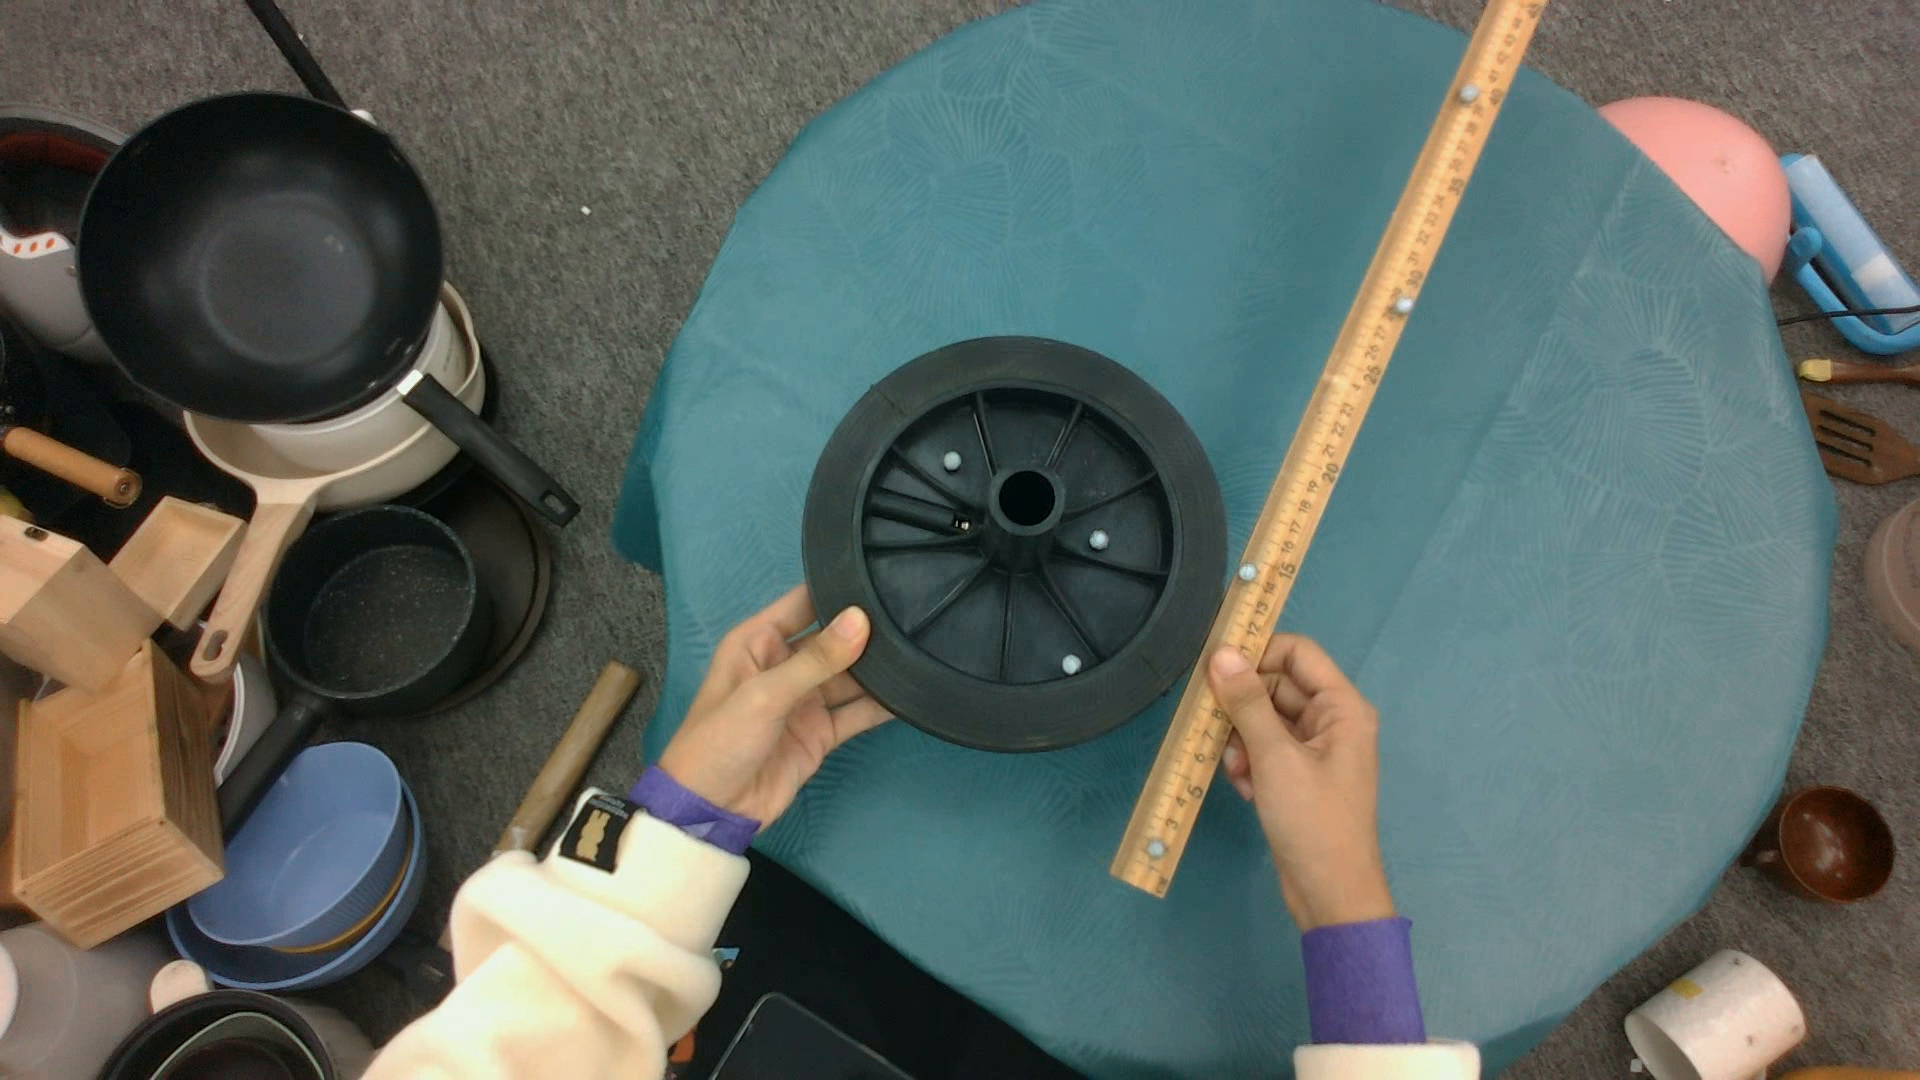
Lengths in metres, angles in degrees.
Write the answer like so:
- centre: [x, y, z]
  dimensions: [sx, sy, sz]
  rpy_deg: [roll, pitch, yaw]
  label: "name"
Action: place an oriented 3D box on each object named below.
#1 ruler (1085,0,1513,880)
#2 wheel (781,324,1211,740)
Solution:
- centre: [0.169, -0.083, 0.626]
  dimensions: [0.027, 0.006, 0.501]
  rpy_deg: [25, 78, 1]
  label: "ruler"
- centre: [0.017, -0.012, 0.589]
  dimensions: [0.190, 0.079, 0.188]
  rpy_deg: [-7, 75, -5]
  label: "wheel"
